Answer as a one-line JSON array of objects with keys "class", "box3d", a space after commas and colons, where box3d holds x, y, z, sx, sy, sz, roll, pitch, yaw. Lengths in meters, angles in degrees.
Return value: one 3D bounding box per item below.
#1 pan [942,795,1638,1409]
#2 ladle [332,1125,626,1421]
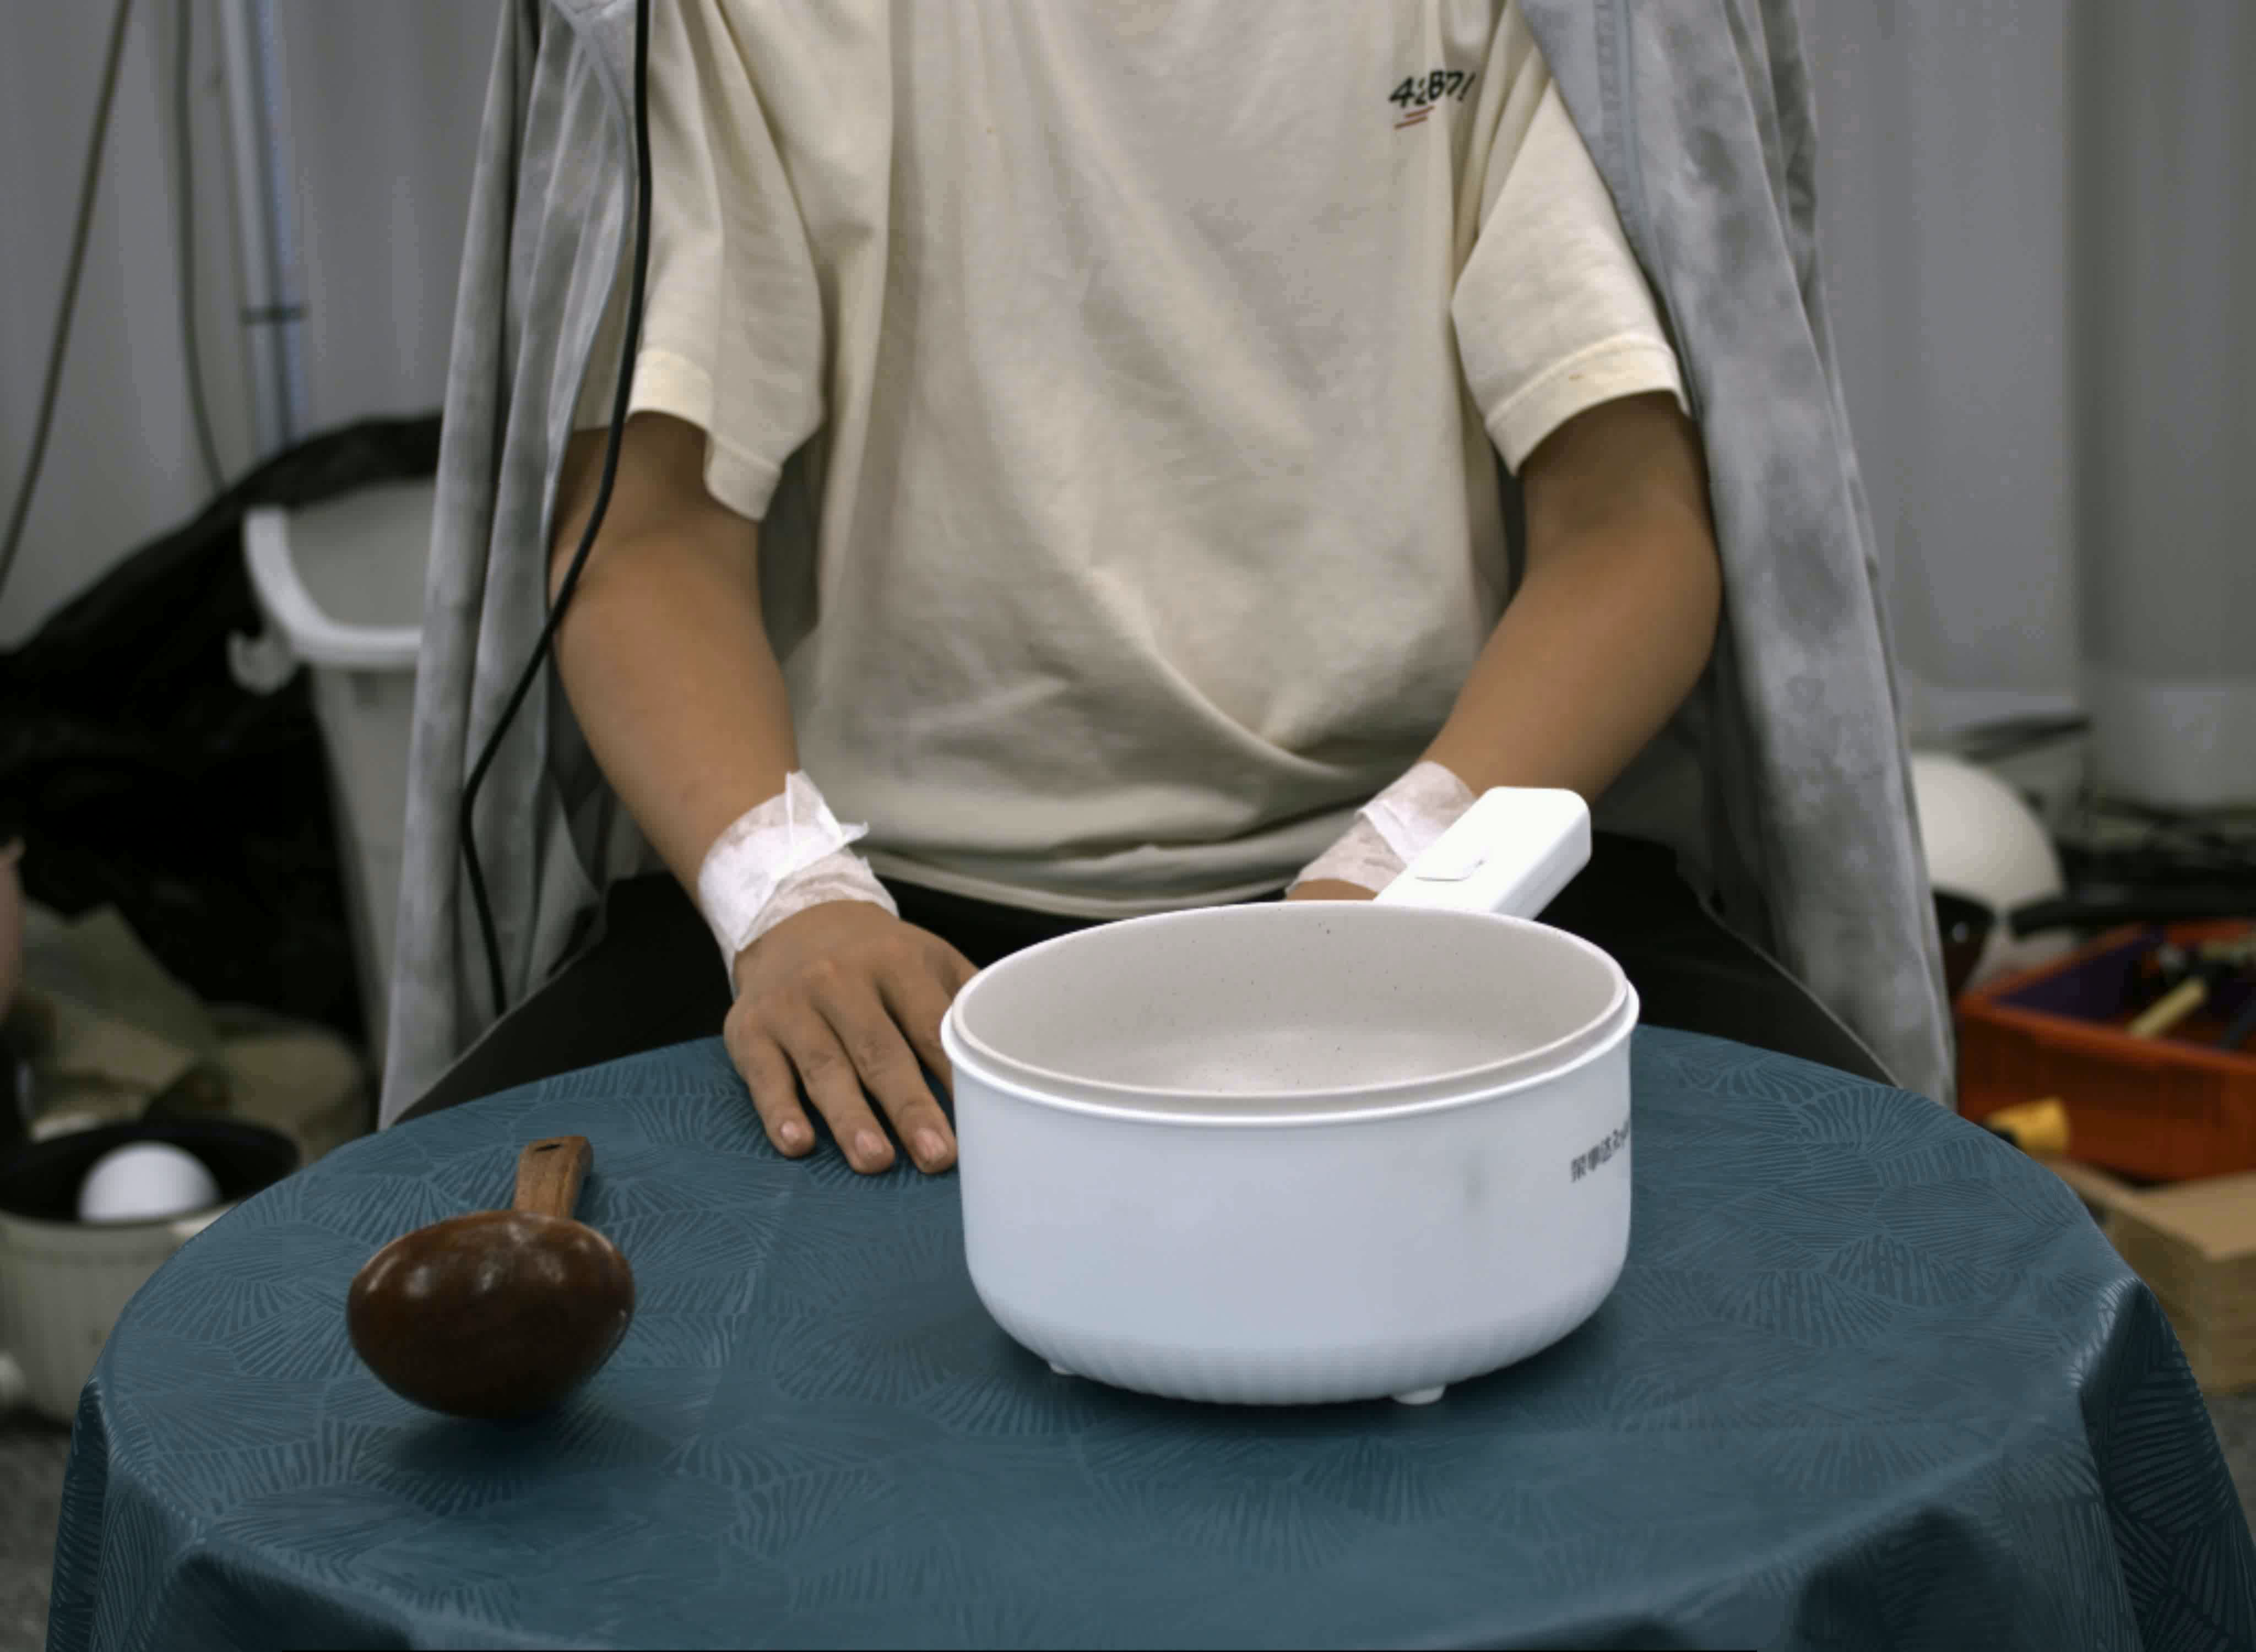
[{"class": "pan", "box3d": [0.076, 0.079, 1.654, 0.201, 0.102, 0.356, 2, 15, 21]}, {"class": "ladle", "box3d": [-0.181, 0.109, 1.624, 0.081, 0.076, 0.276, -5, 16, 1]}]
